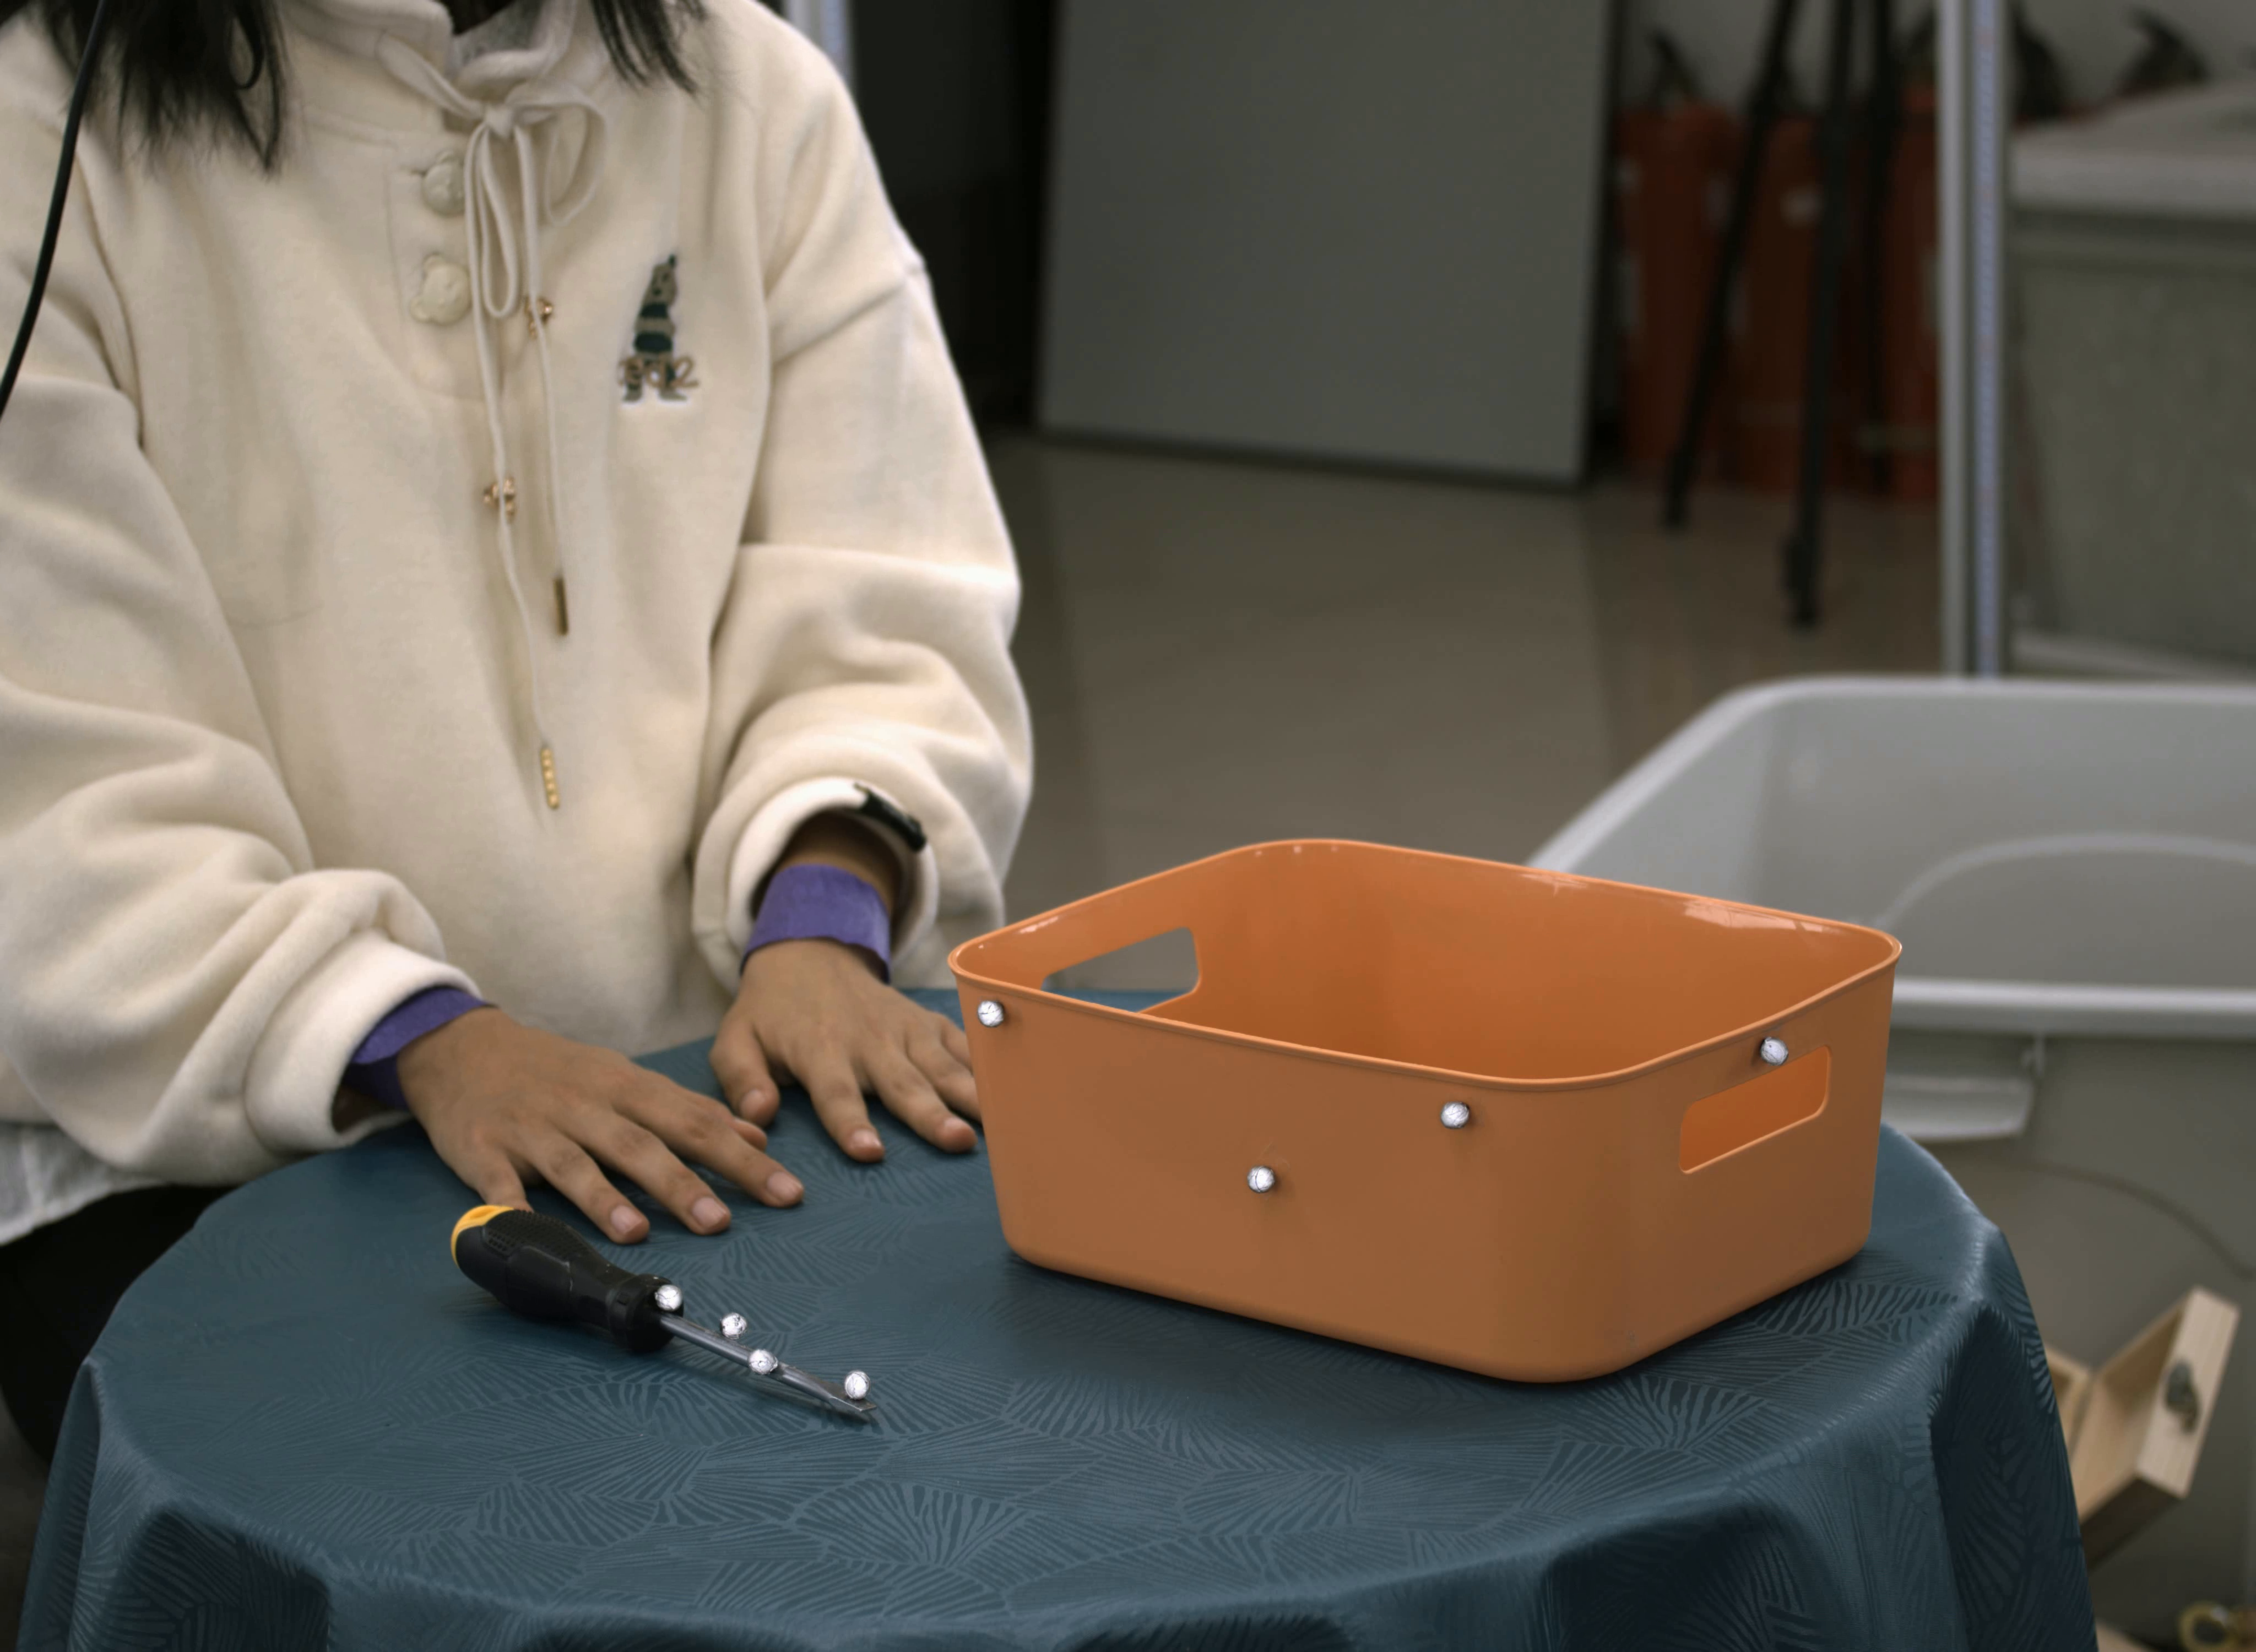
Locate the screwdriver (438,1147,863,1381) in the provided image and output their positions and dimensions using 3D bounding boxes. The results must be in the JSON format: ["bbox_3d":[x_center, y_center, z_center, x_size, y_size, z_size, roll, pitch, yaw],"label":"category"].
[{"bbox_3d":[-0.143,0.137,1.652,0.199,0.032,0.031,20,26,41],"label":"screwdriver"}]

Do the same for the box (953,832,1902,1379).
[{"bbox_3d":[0.094,0.083,1.675,0.275,0.103,0.195,9,19,42],"label":"box"}]
